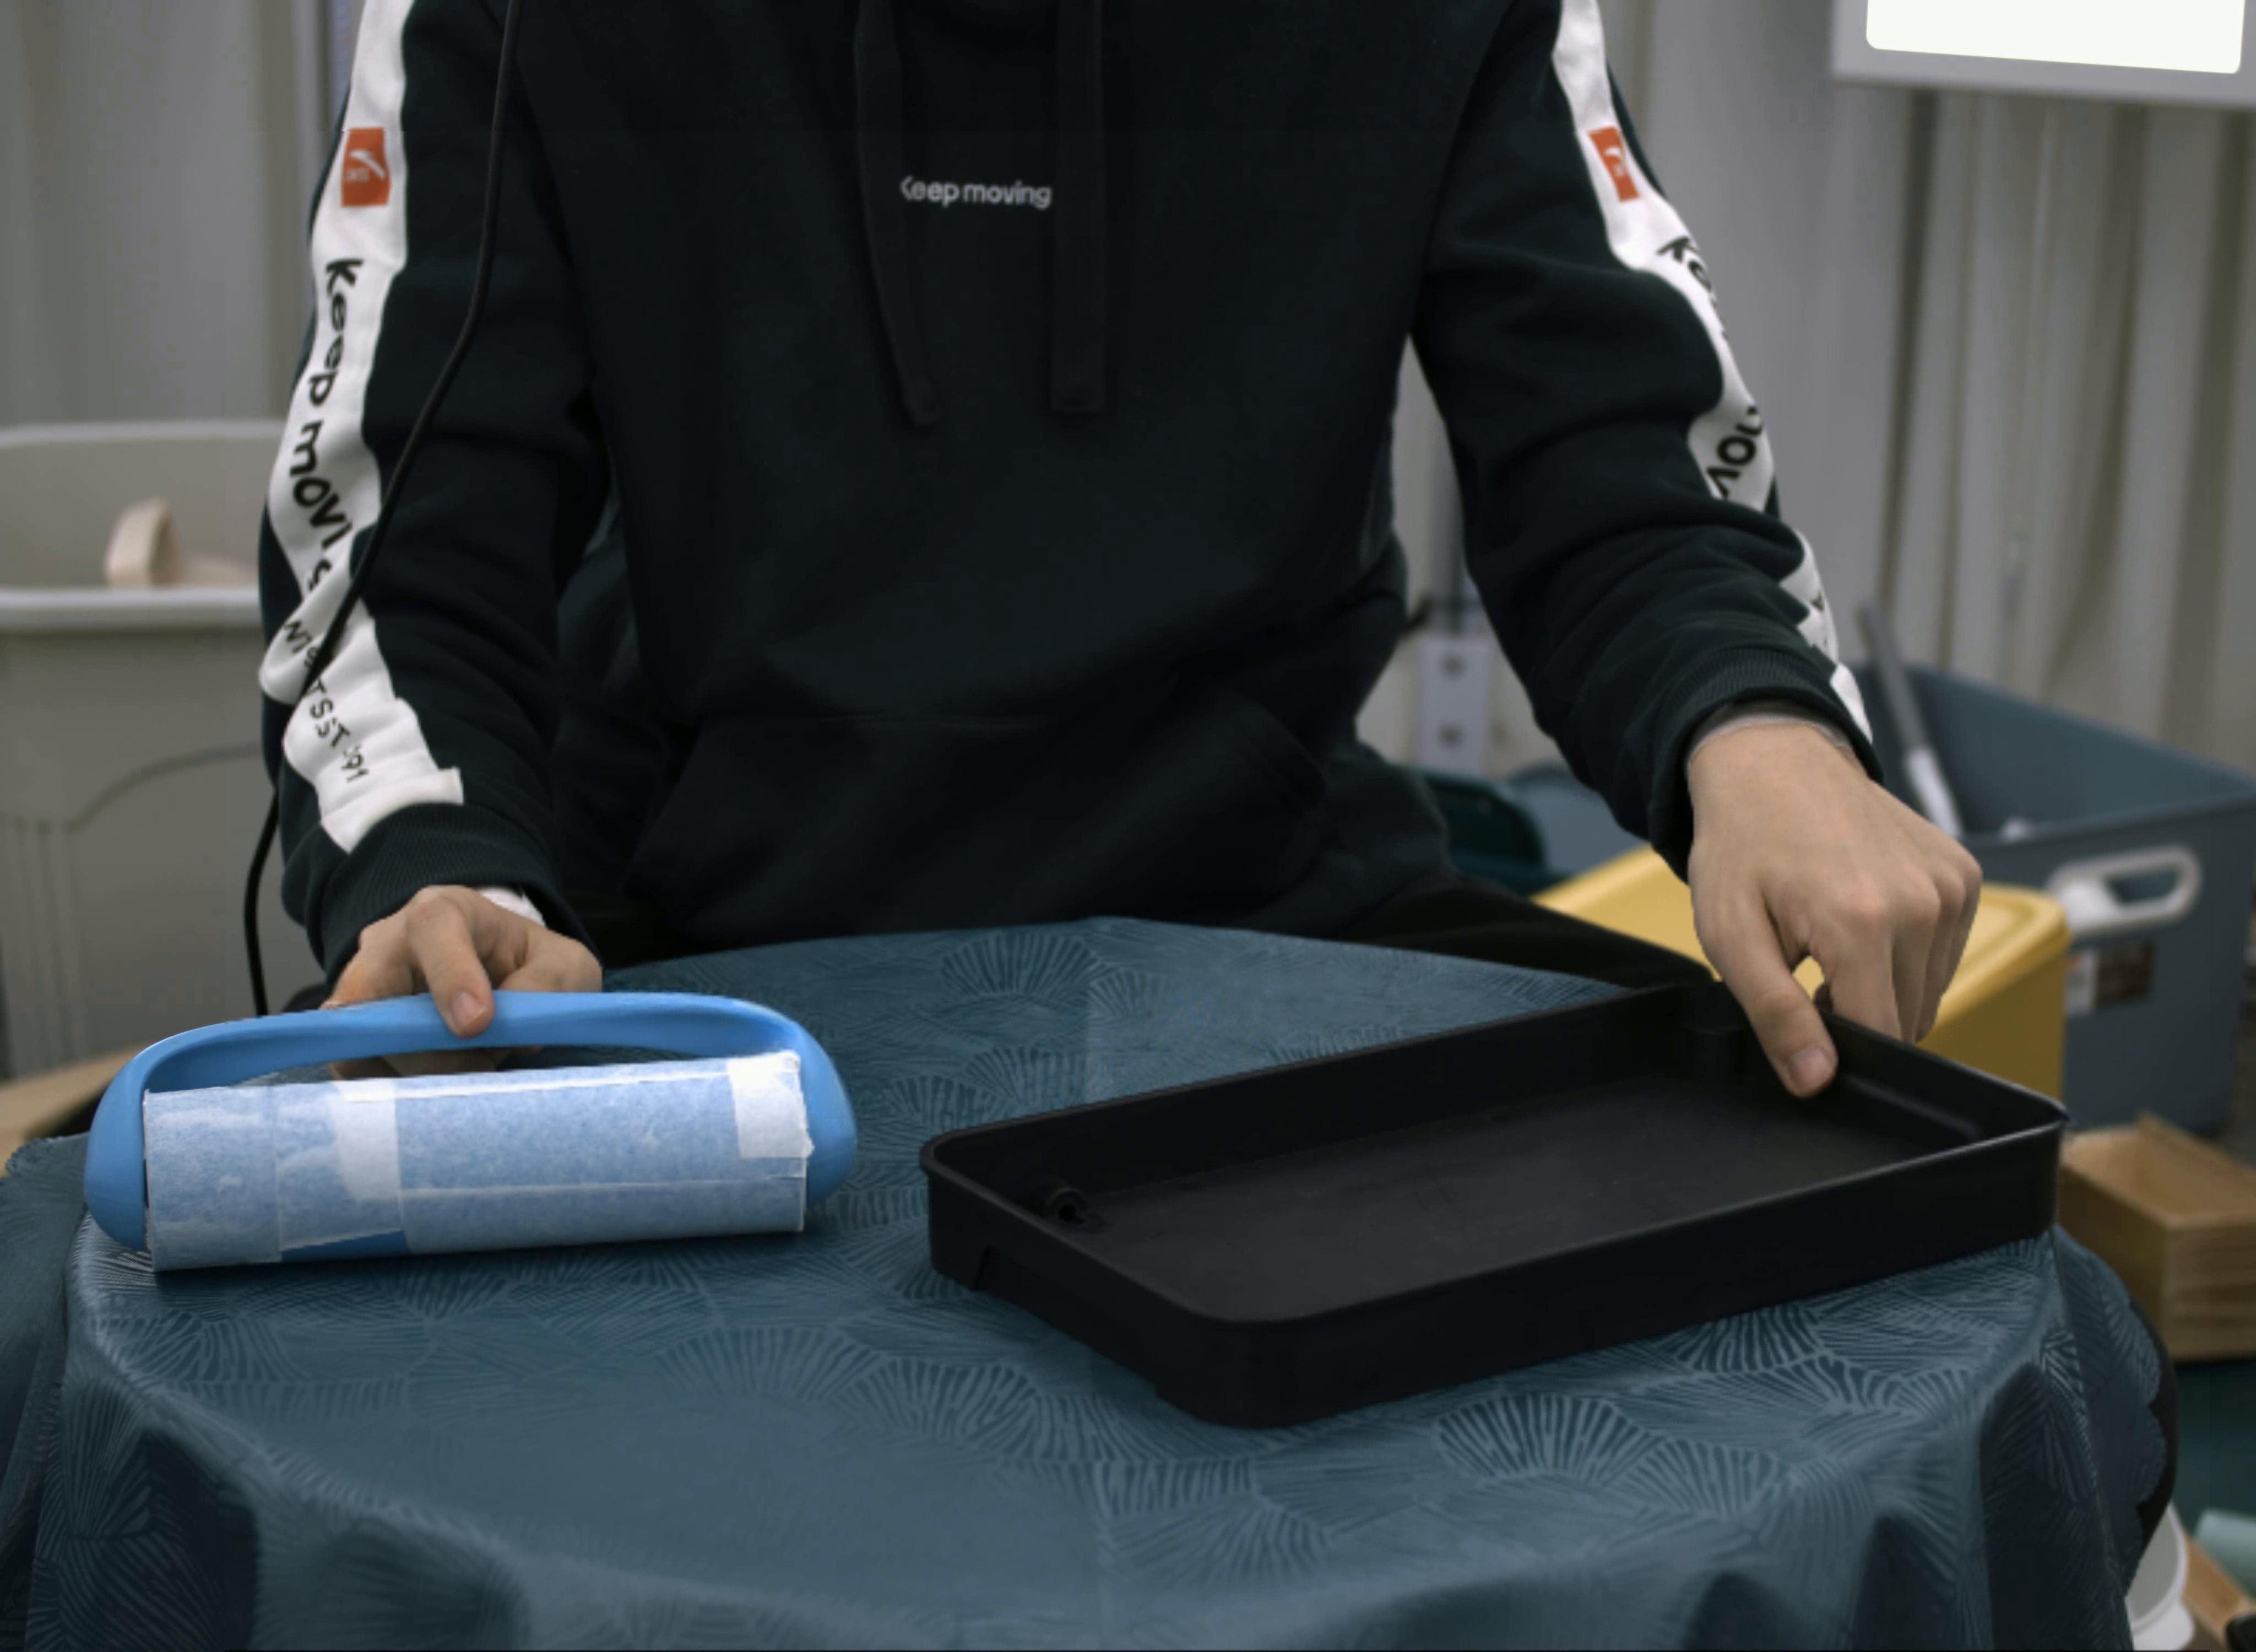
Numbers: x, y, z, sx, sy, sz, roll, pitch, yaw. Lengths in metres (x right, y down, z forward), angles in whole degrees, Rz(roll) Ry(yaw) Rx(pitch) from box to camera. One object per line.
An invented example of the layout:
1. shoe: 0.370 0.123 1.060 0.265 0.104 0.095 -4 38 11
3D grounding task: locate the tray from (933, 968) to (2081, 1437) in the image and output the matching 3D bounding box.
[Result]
1. tray: 0.115 0.106 1.576 0.319 0.037 0.182 -12 19 -33

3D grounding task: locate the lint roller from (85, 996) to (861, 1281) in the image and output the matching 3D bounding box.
1. lint roller: -0.206 0.083 1.613 0.229 0.068 0.178 -5 18 -13
